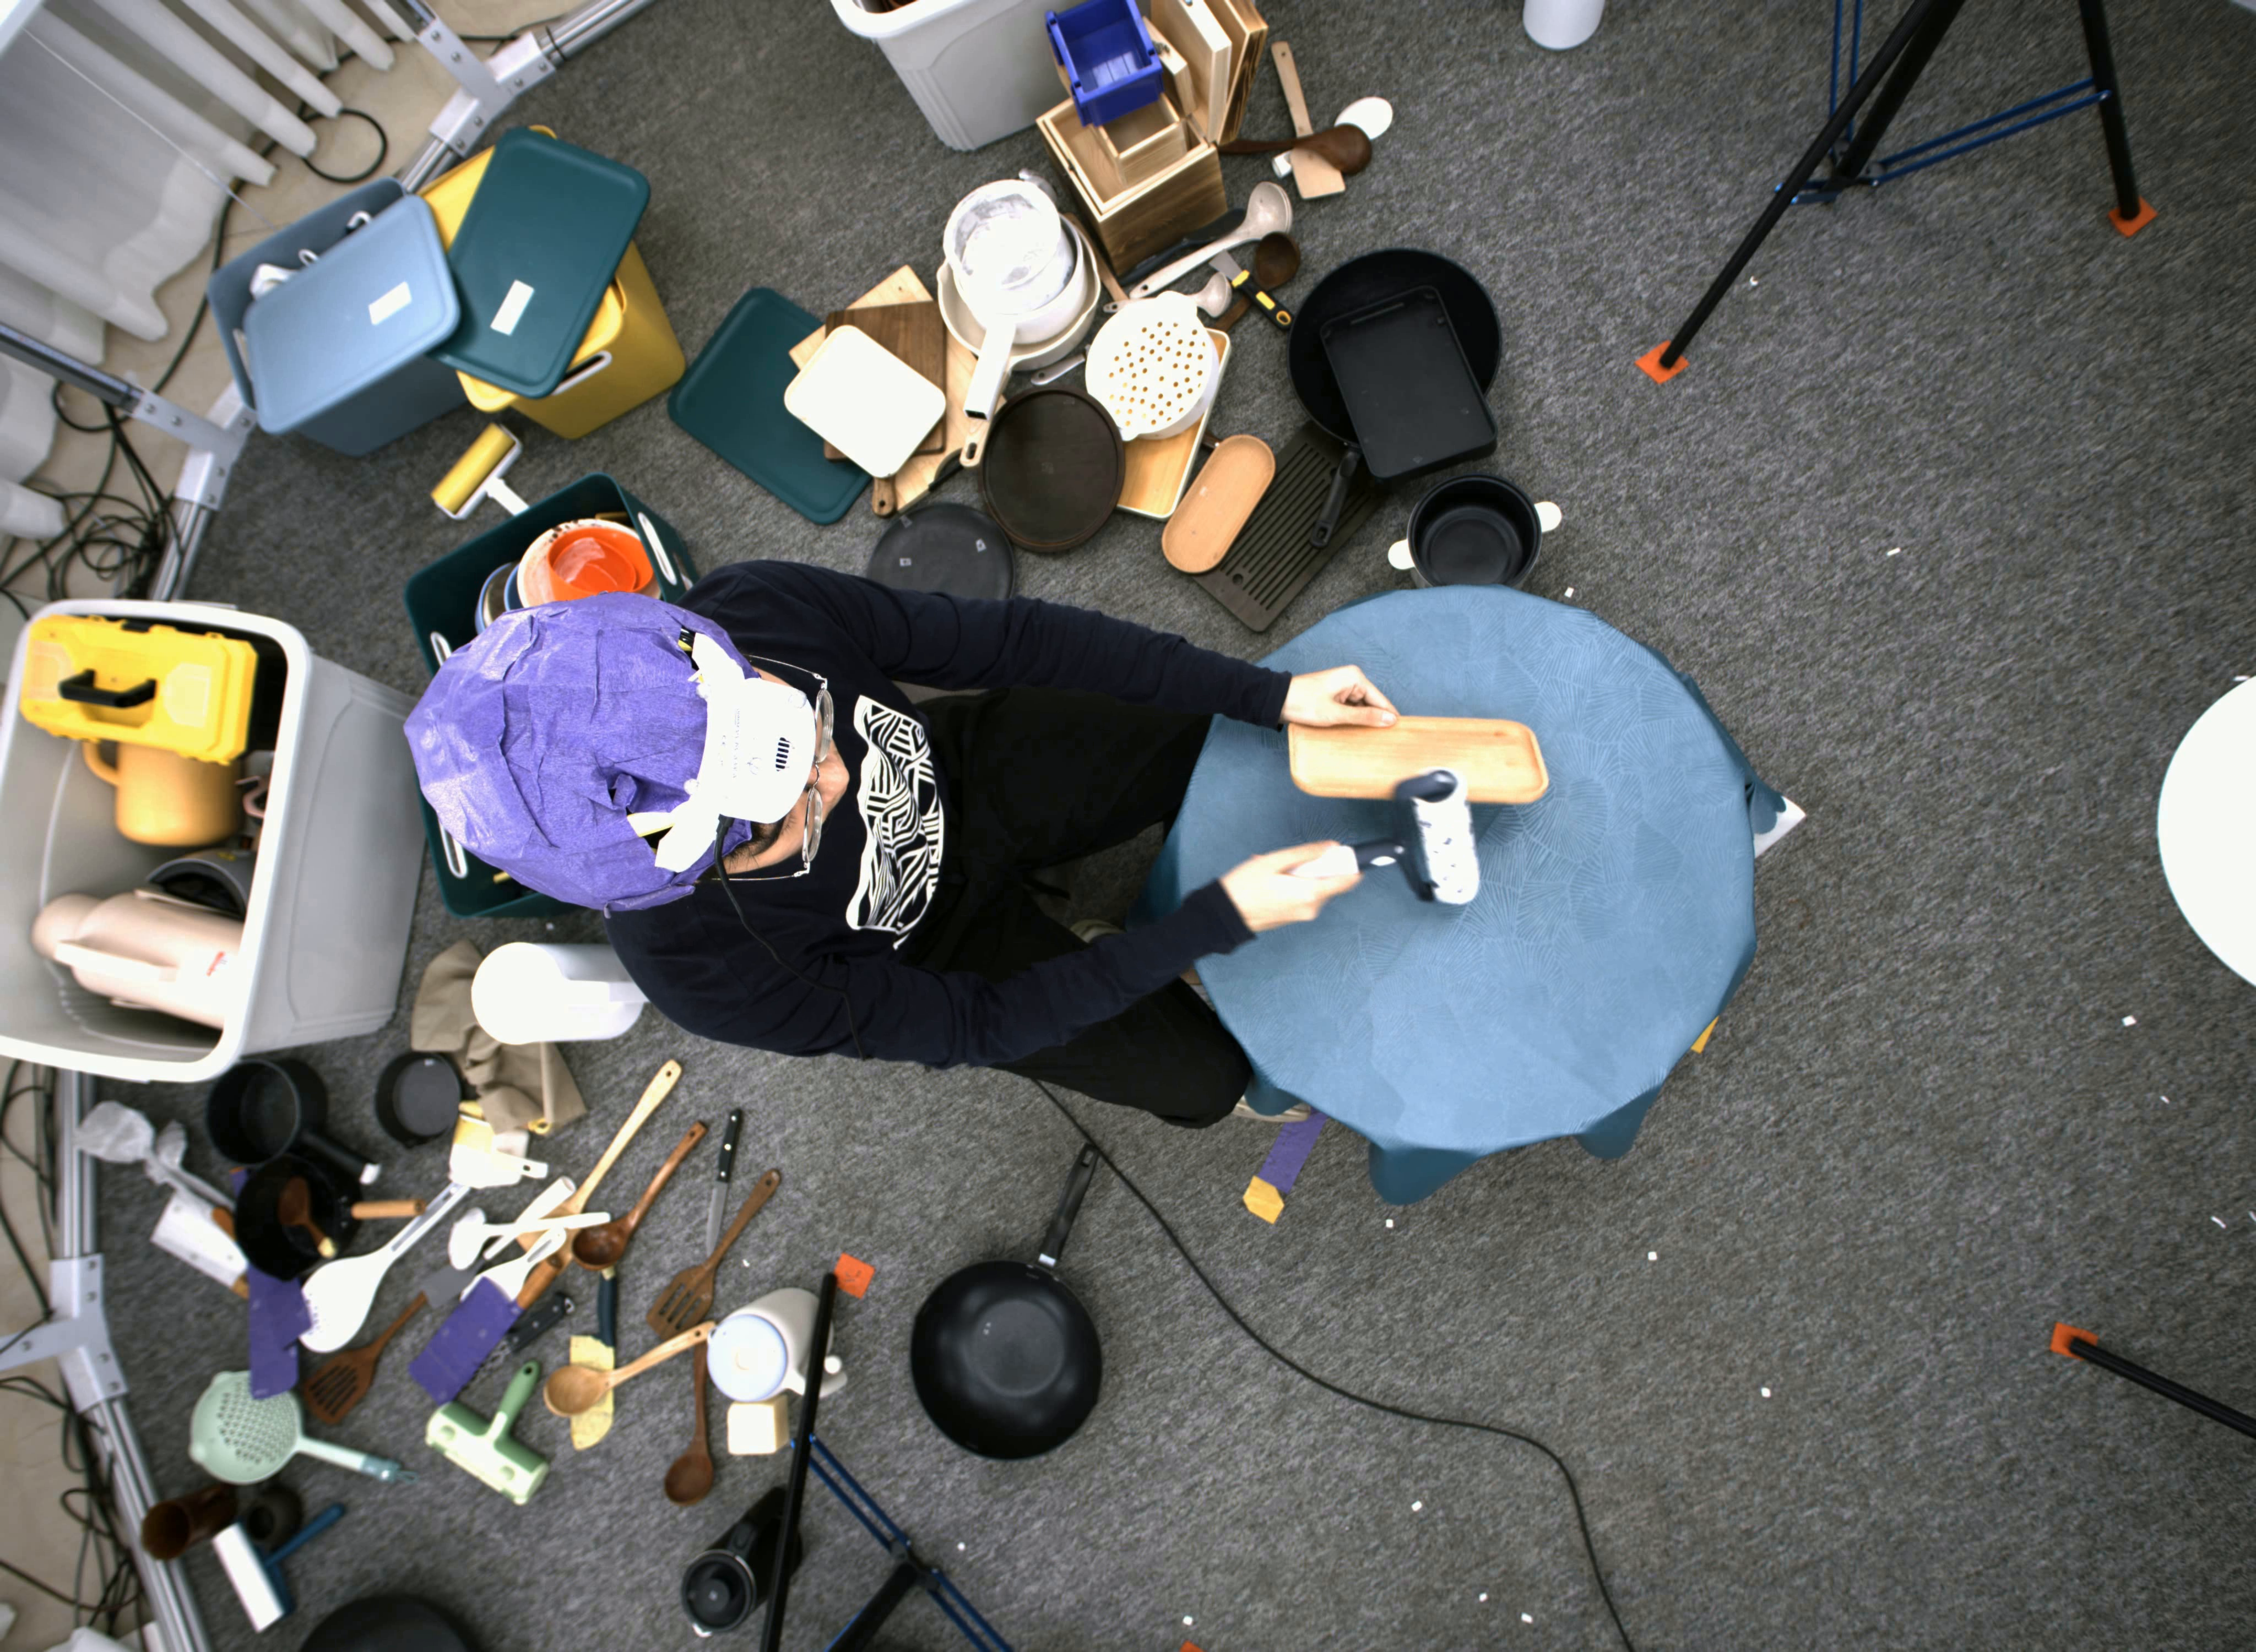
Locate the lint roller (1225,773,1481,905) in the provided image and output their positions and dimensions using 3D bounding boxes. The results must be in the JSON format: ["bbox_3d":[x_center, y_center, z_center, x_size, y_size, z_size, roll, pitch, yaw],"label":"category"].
[{"bbox_3d":[0.217,0.037,1.350,0.248,0.179,0.049,-14,52,12],"label":"lint roller"}]

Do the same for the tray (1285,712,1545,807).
[{"bbox_3d":[0.281,-0.068,1.364,0.251,0.127,0.023,2,129,4],"label":"tray"}]
